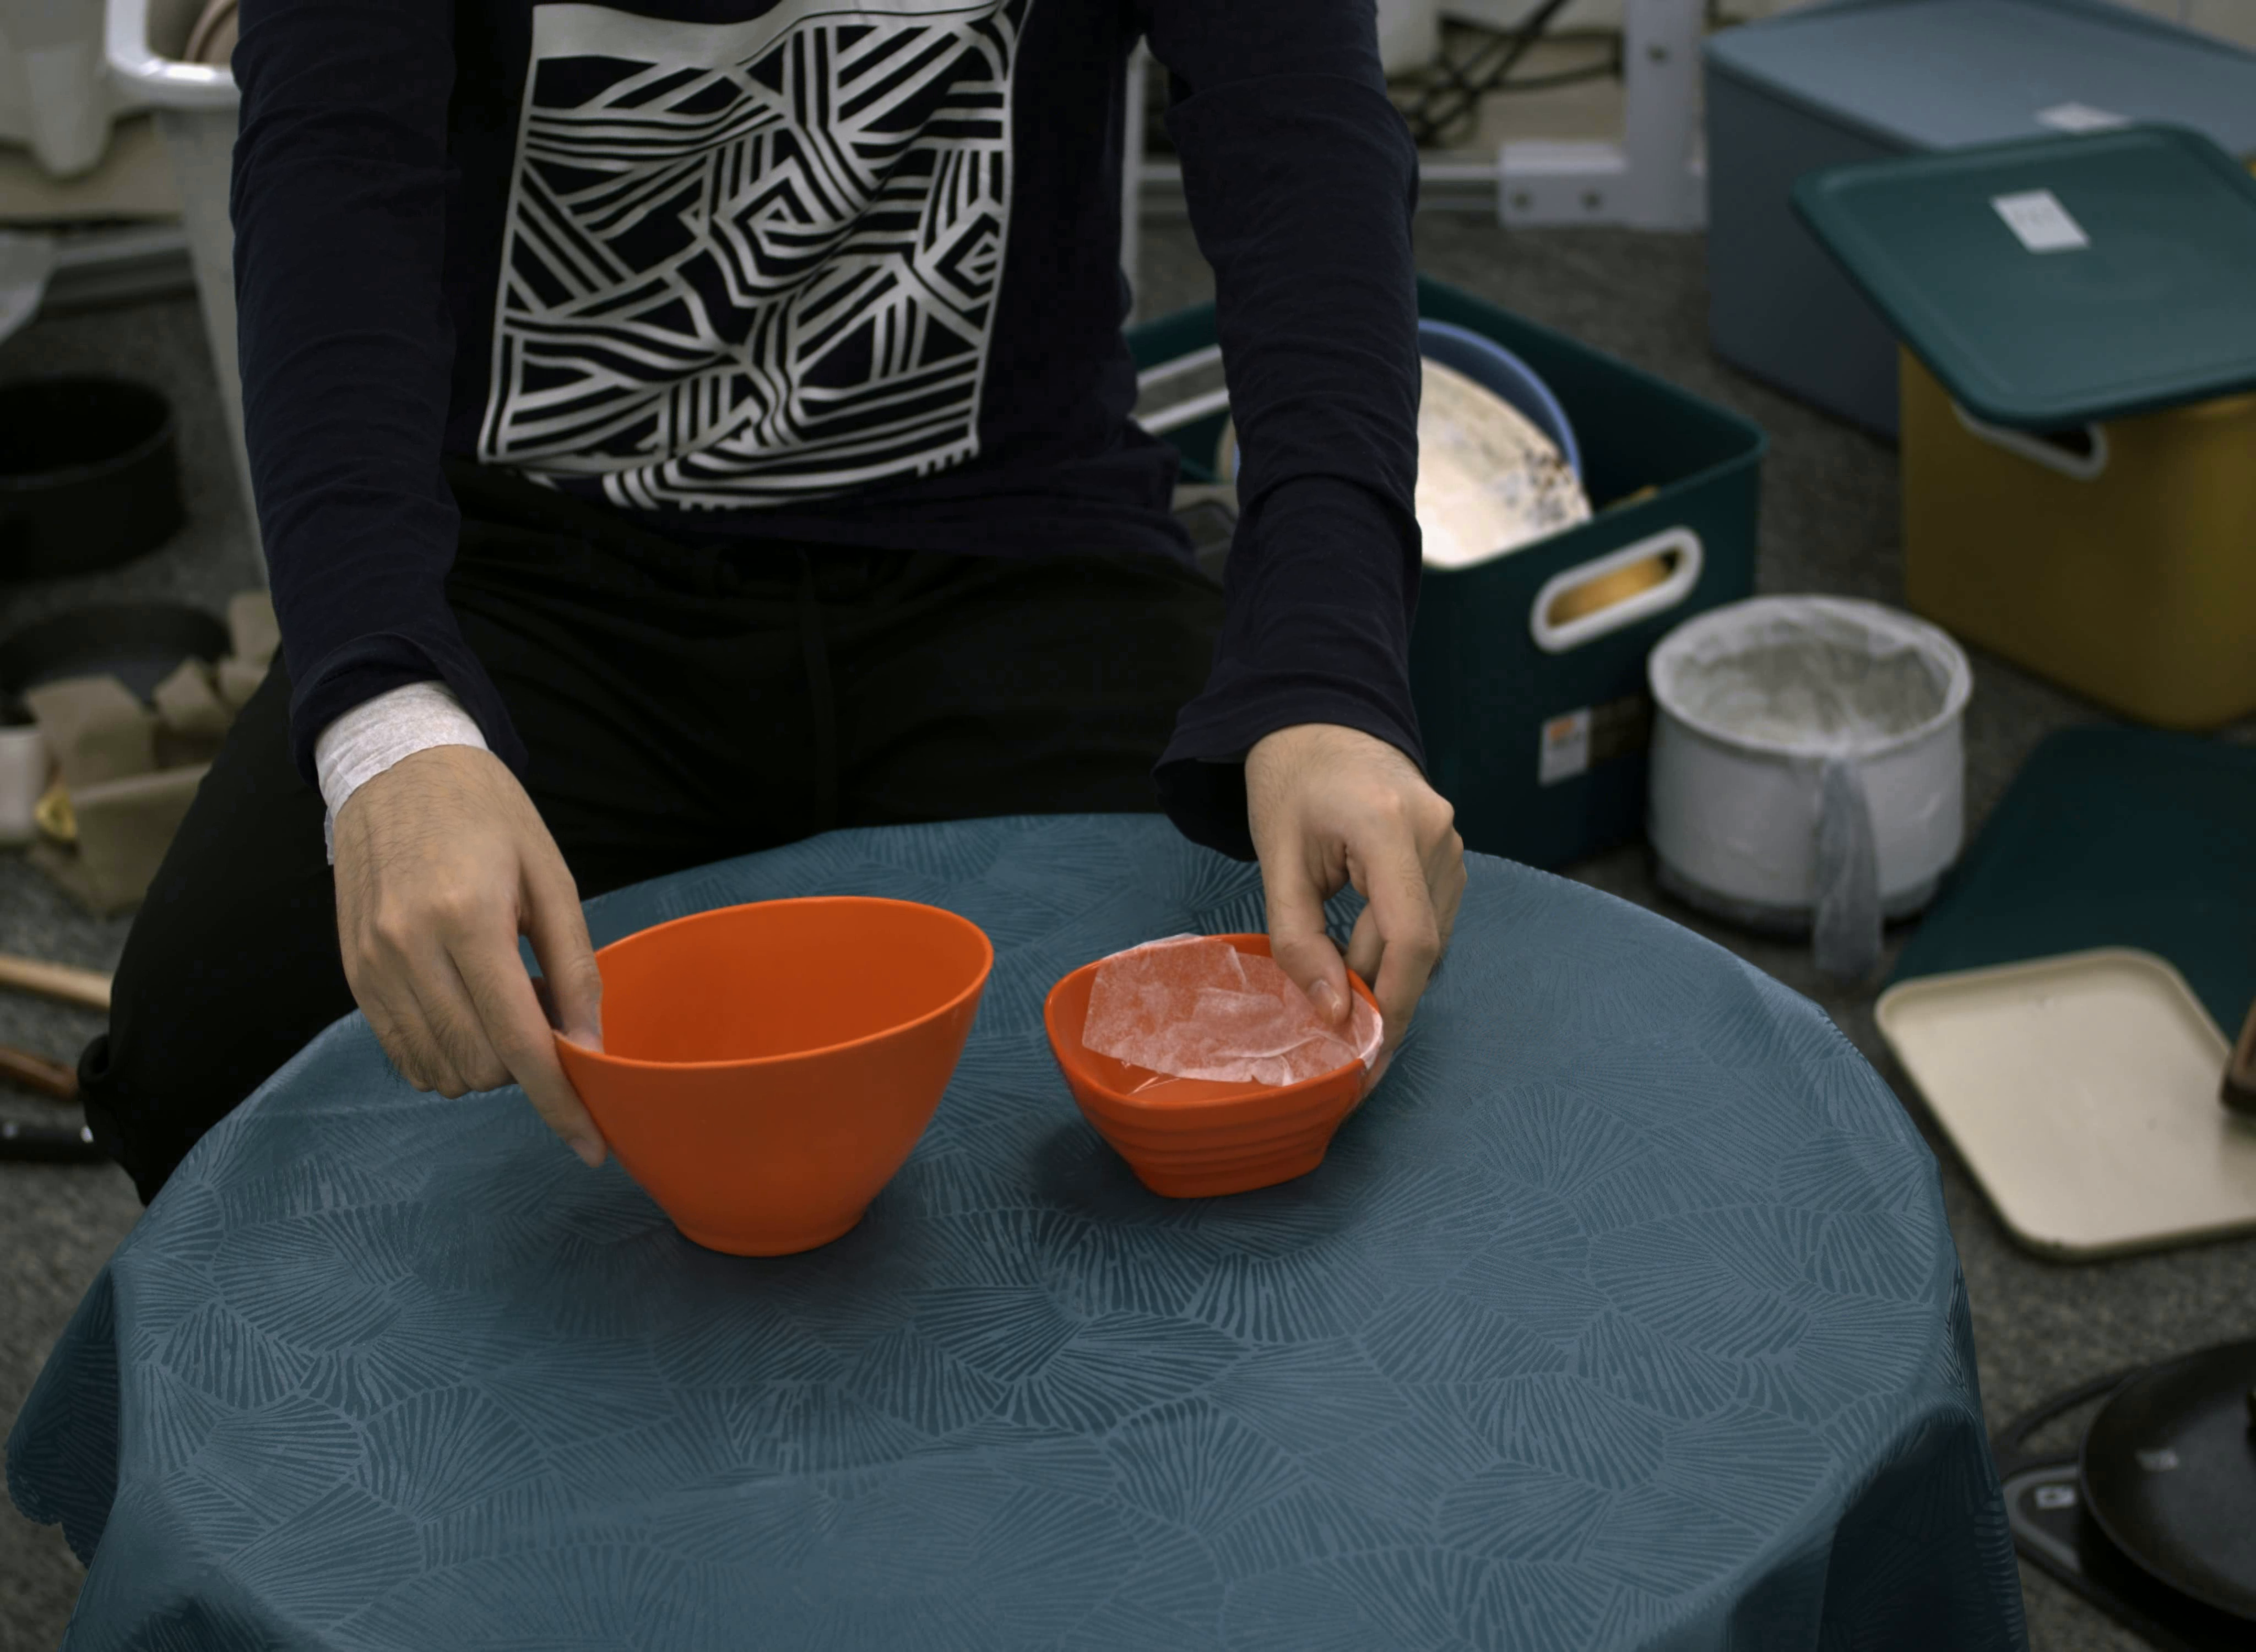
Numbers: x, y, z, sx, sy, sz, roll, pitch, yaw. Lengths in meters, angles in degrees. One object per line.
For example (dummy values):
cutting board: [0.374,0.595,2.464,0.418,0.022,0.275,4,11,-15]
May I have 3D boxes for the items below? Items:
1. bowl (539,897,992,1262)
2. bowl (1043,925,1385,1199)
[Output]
bowl: [-0.115,0.086,1.831,0.147,0.103,0.150,-2,27,1]
bowl: [0.029,0.083,1.876,0.118,0.051,0.121,-3,29,2]
